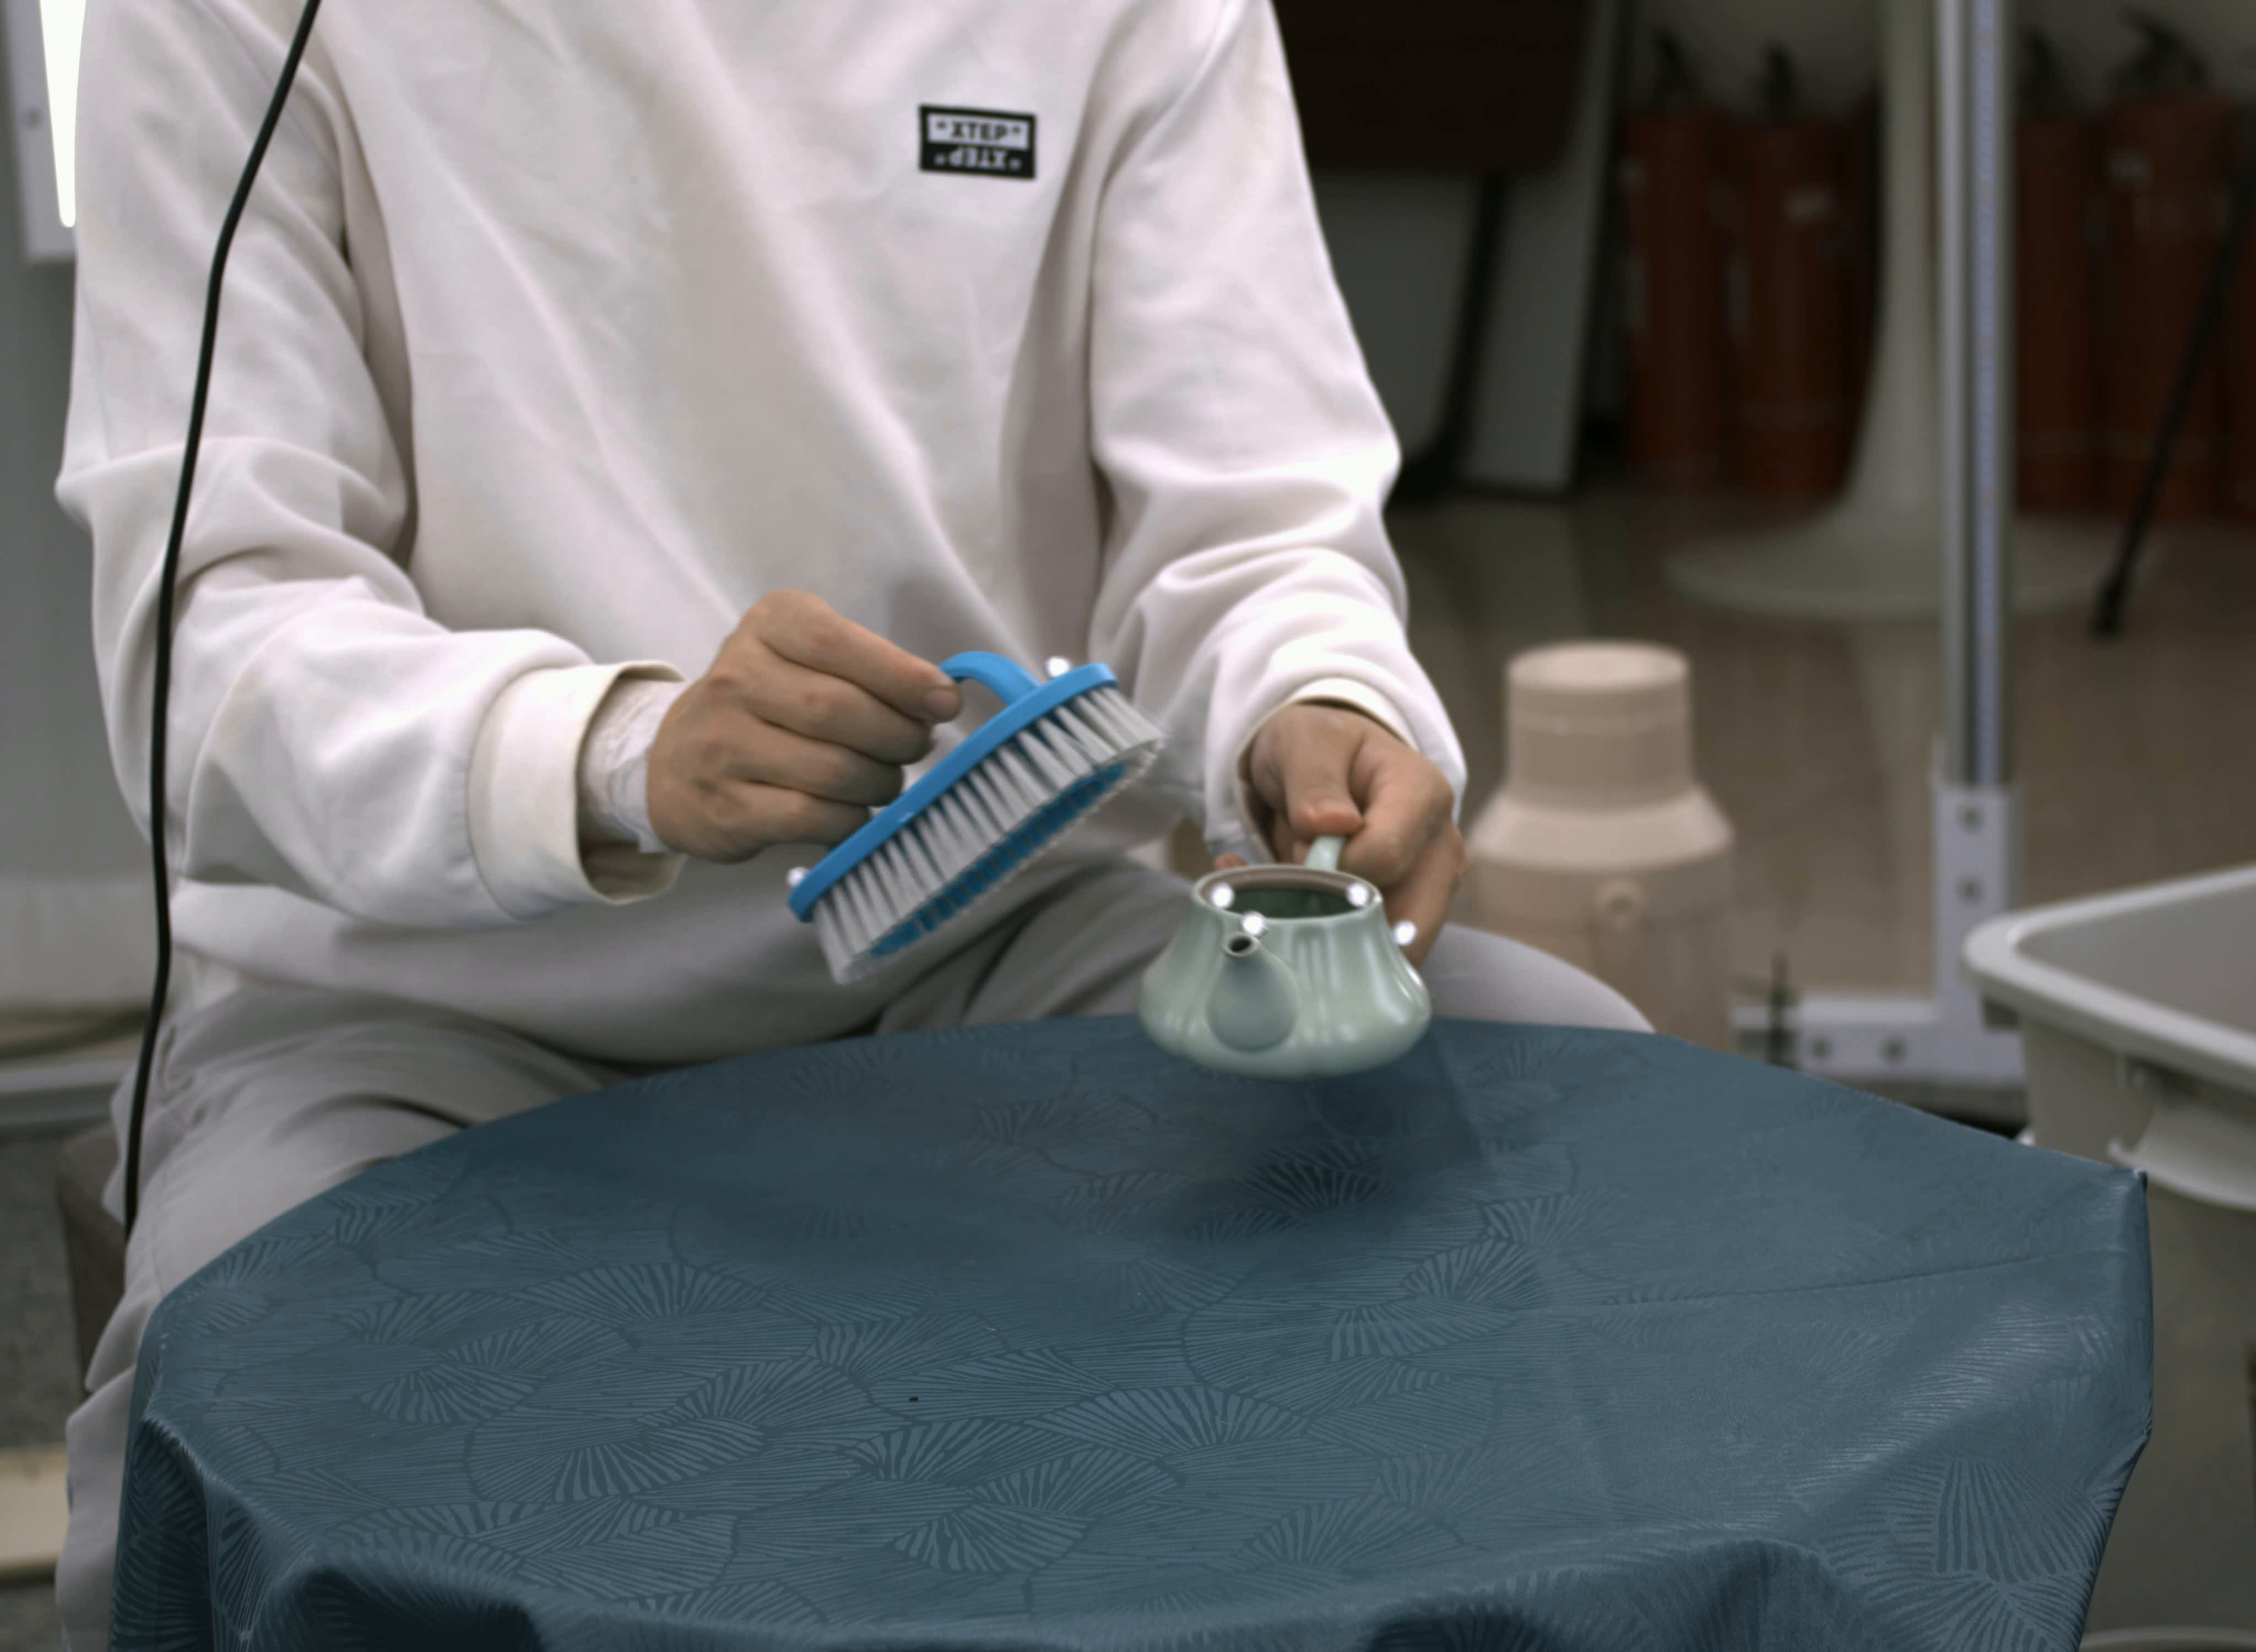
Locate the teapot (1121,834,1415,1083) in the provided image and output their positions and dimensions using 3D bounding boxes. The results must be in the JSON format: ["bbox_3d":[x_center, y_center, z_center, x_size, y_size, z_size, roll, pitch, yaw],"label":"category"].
[{"bbox_3d":[0.046,0.045,1.752,0.096,0.062,0.136,1,15,15],"label":"teapot"}]

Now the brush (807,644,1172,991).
[{"bbox_3d":[-0.055,-0.012,1.744,0.143,0.064,0.083,-42,-6,25],"label":"brush"}]
